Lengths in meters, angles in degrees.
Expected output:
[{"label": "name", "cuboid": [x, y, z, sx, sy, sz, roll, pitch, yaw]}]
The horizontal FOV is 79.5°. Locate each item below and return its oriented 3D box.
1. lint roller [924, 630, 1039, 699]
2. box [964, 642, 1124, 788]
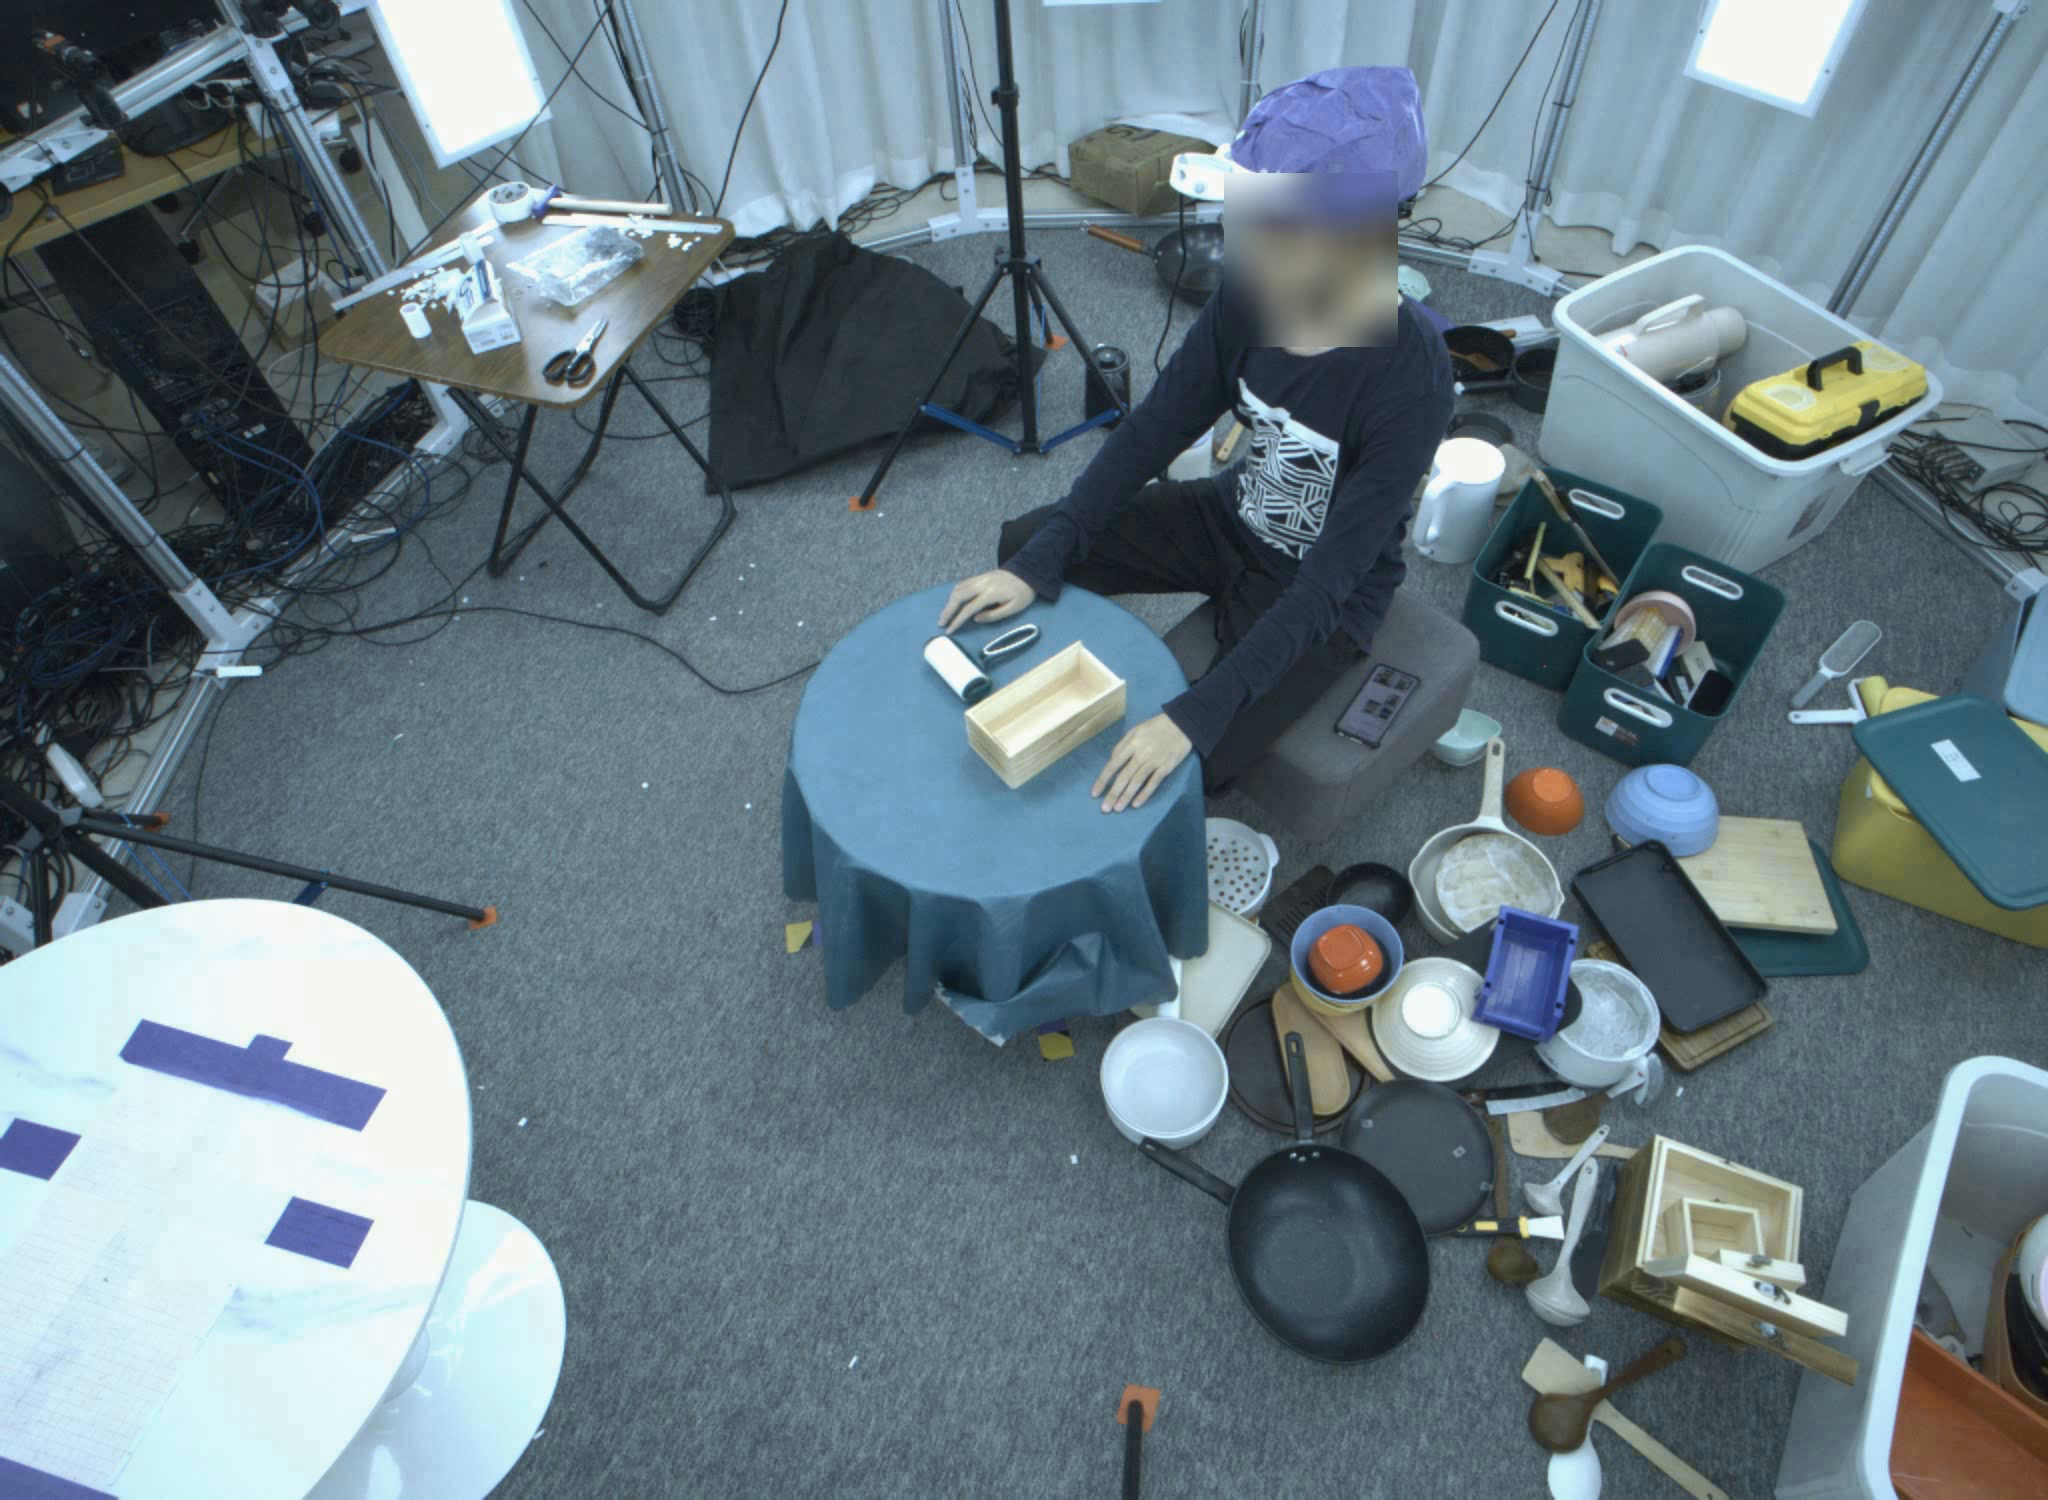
[{"label": "lint roller", "cuboid": [-0.051, -0.156, 1.884, 0.182, 0.049, 0.132, -30, 58, -23]}, {"label": "box", "cuboid": [0.031, -0.053, 1.783, 0.213, 0.081, 0.105, -33, 59, -22]}]
